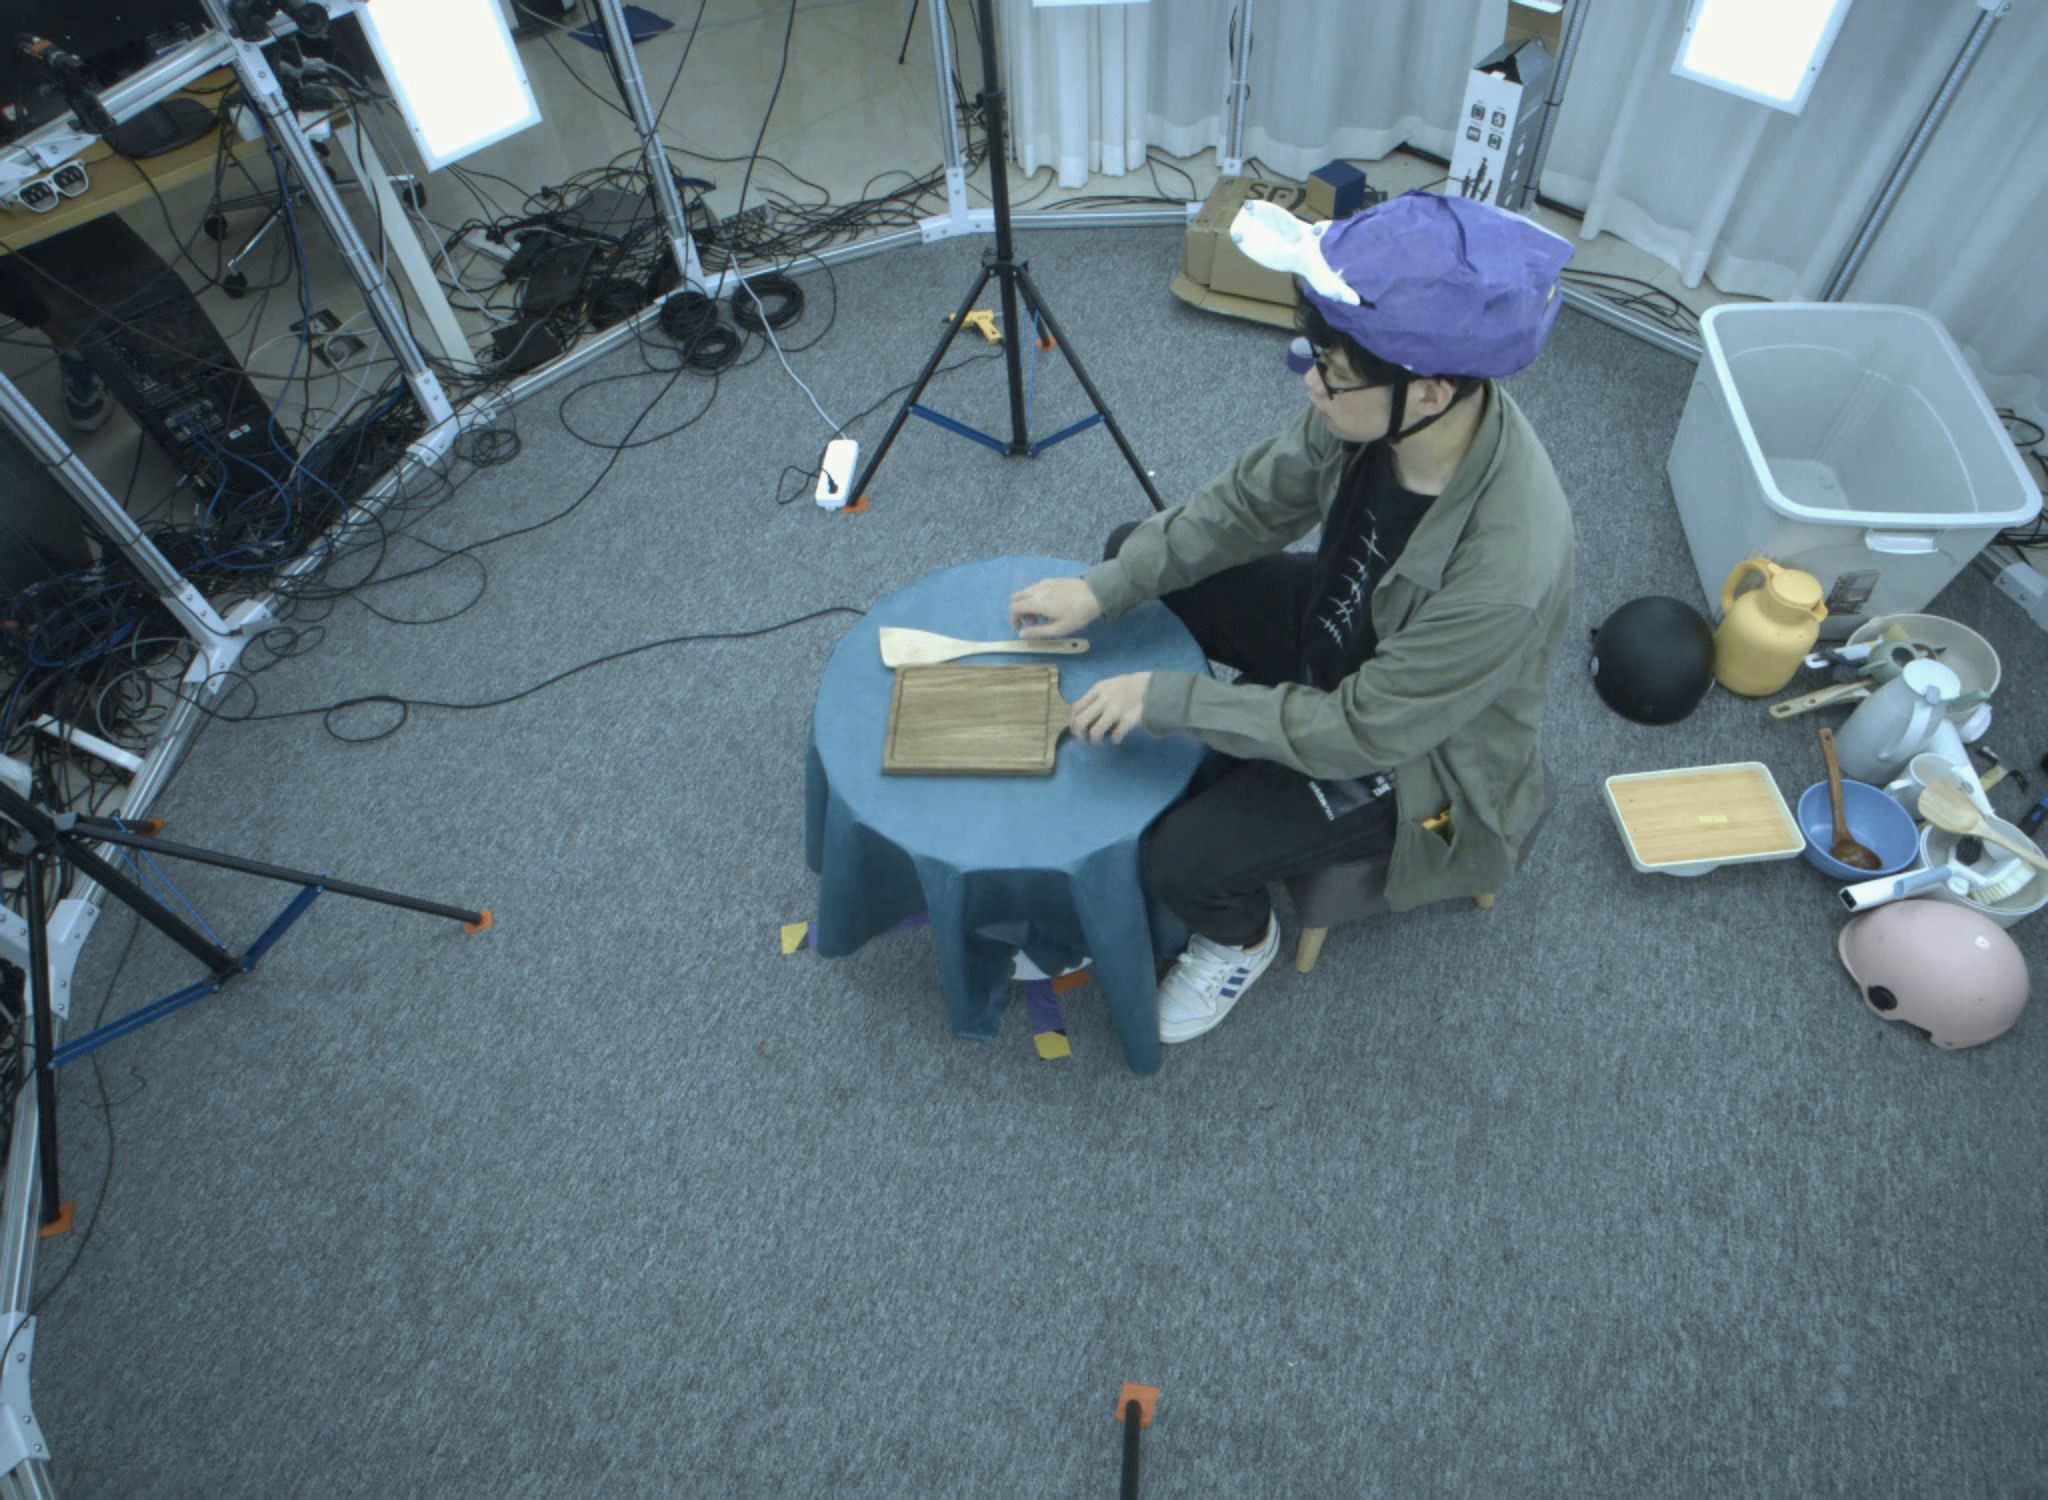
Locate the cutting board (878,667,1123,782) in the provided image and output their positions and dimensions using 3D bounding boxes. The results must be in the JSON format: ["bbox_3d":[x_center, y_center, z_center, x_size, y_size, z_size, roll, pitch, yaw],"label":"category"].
[{"bbox_3d":[-0.031,-0.039,1.808,0.351,0.023,0.199,2,55,3],"label":"cutting board"}]

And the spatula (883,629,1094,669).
[{"bbox_3d":[-0.057,-0.161,1.897,0.327,0.017,0.079,-2,55,1],"label":"spatula"}]
